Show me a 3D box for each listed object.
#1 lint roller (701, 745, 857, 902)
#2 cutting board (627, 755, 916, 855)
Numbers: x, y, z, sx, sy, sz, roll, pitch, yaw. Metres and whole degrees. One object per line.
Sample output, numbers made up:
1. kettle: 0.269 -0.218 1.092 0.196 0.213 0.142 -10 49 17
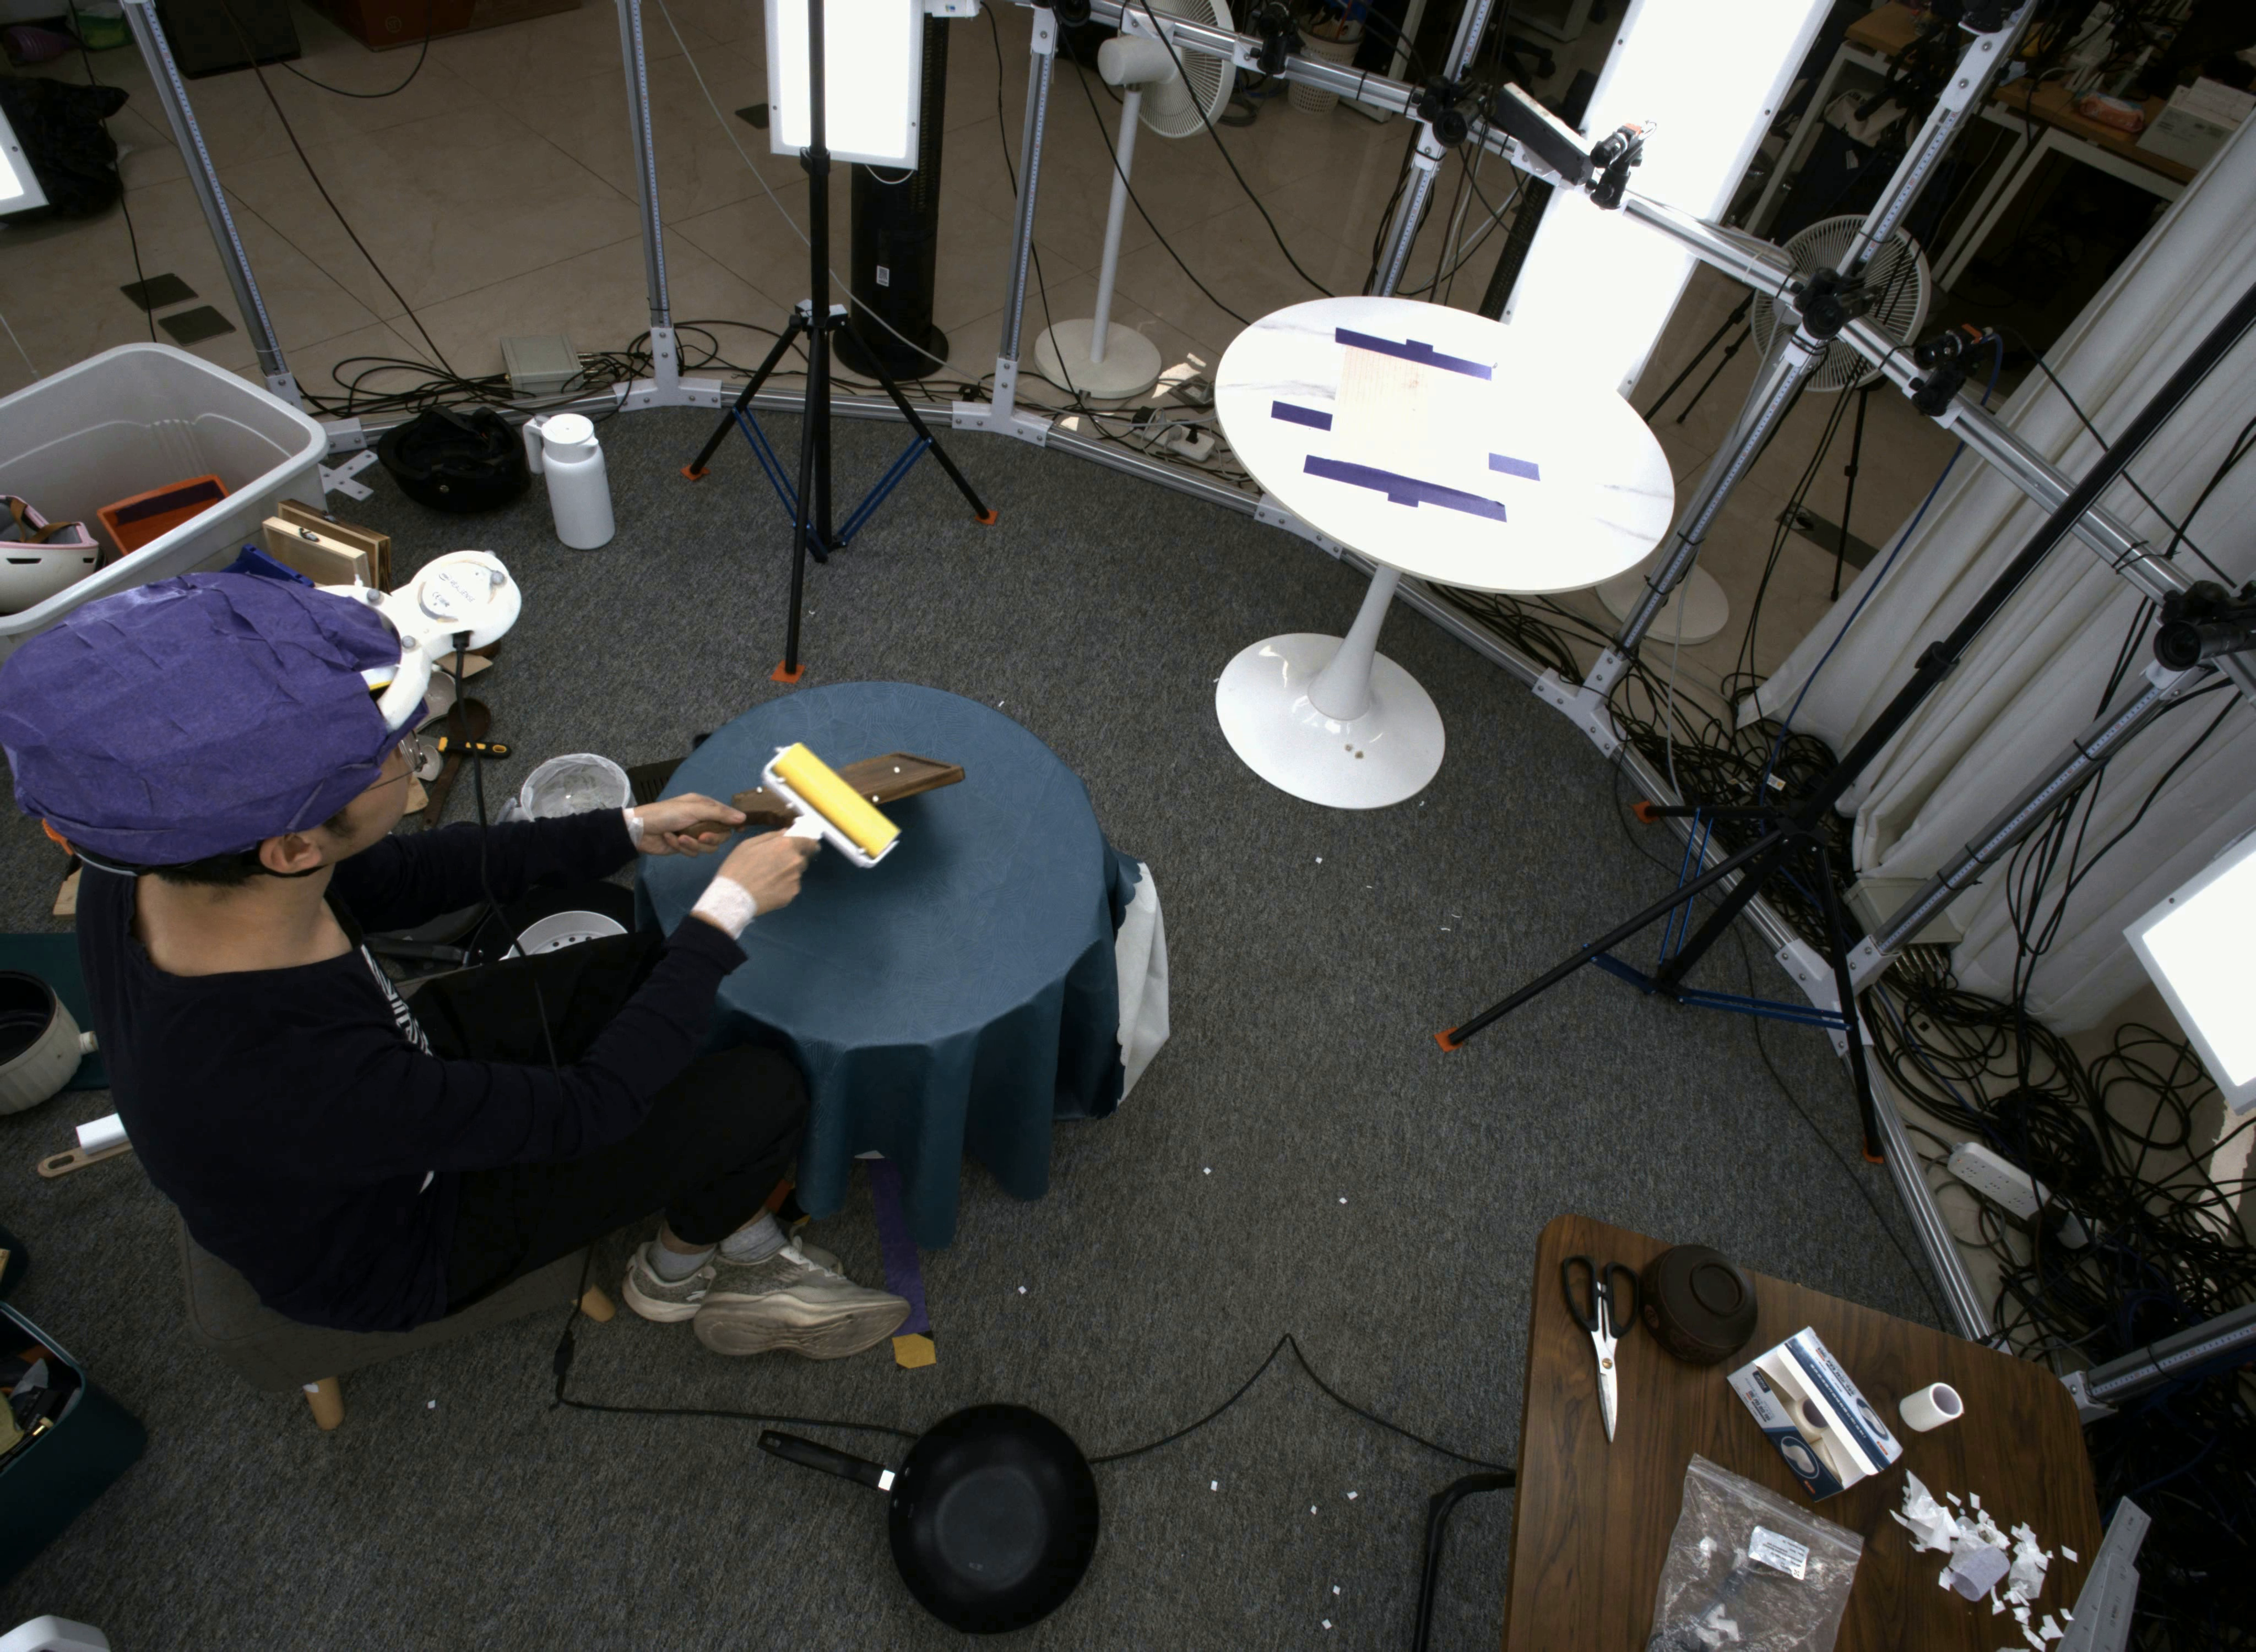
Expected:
1. lint roller: -0.425 0.013 1.484 0.176 0.051 0.190 39 39 -8
2. cutting board: -0.463 -0.029 1.636 0.355 0.024 0.194 -21 19 -34
